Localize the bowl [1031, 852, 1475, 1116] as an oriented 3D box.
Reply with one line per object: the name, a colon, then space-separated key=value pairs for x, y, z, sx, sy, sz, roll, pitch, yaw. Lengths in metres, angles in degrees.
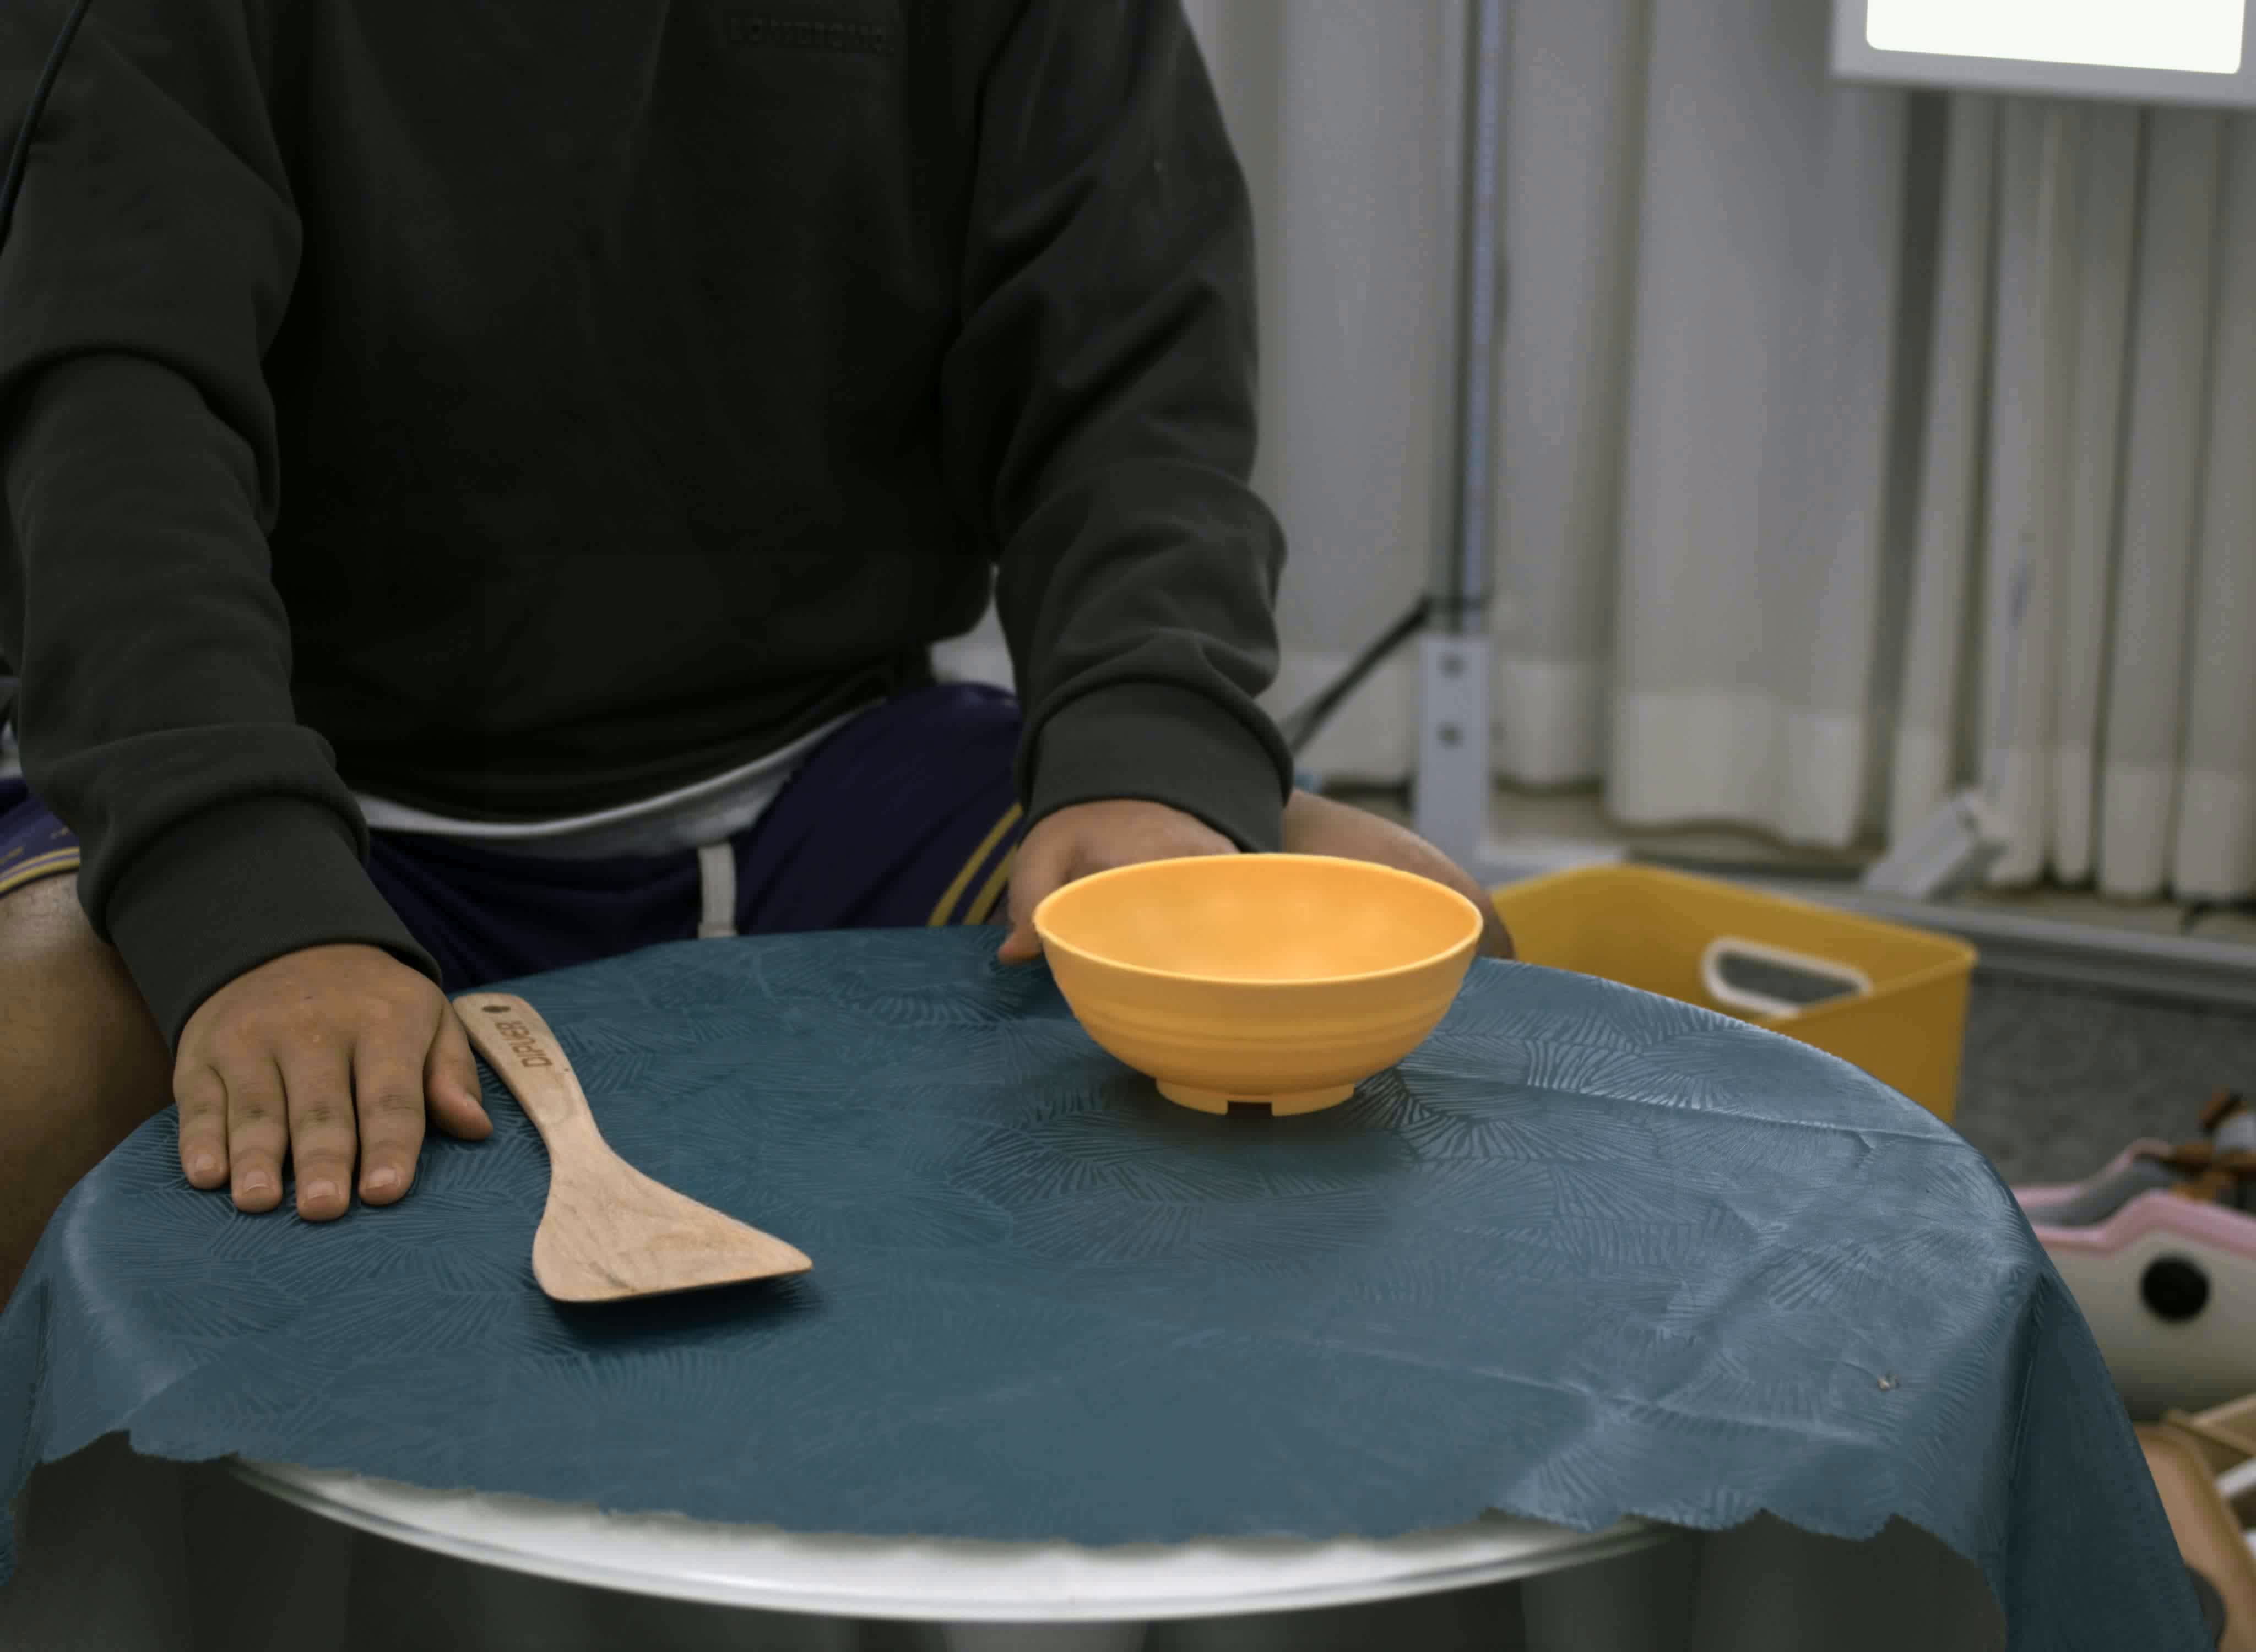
bowl: x=0.039 y=0.057 z=1.716 sx=0.145 sy=0.060 sz=0.144 roll=3 pitch=16 yaw=0

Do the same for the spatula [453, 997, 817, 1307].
spatula: x=-0.169 y=0.097 z=1.641 sx=0.080 sy=0.016 sz=0.324 roll=-5 pitch=16 yaw=-17
